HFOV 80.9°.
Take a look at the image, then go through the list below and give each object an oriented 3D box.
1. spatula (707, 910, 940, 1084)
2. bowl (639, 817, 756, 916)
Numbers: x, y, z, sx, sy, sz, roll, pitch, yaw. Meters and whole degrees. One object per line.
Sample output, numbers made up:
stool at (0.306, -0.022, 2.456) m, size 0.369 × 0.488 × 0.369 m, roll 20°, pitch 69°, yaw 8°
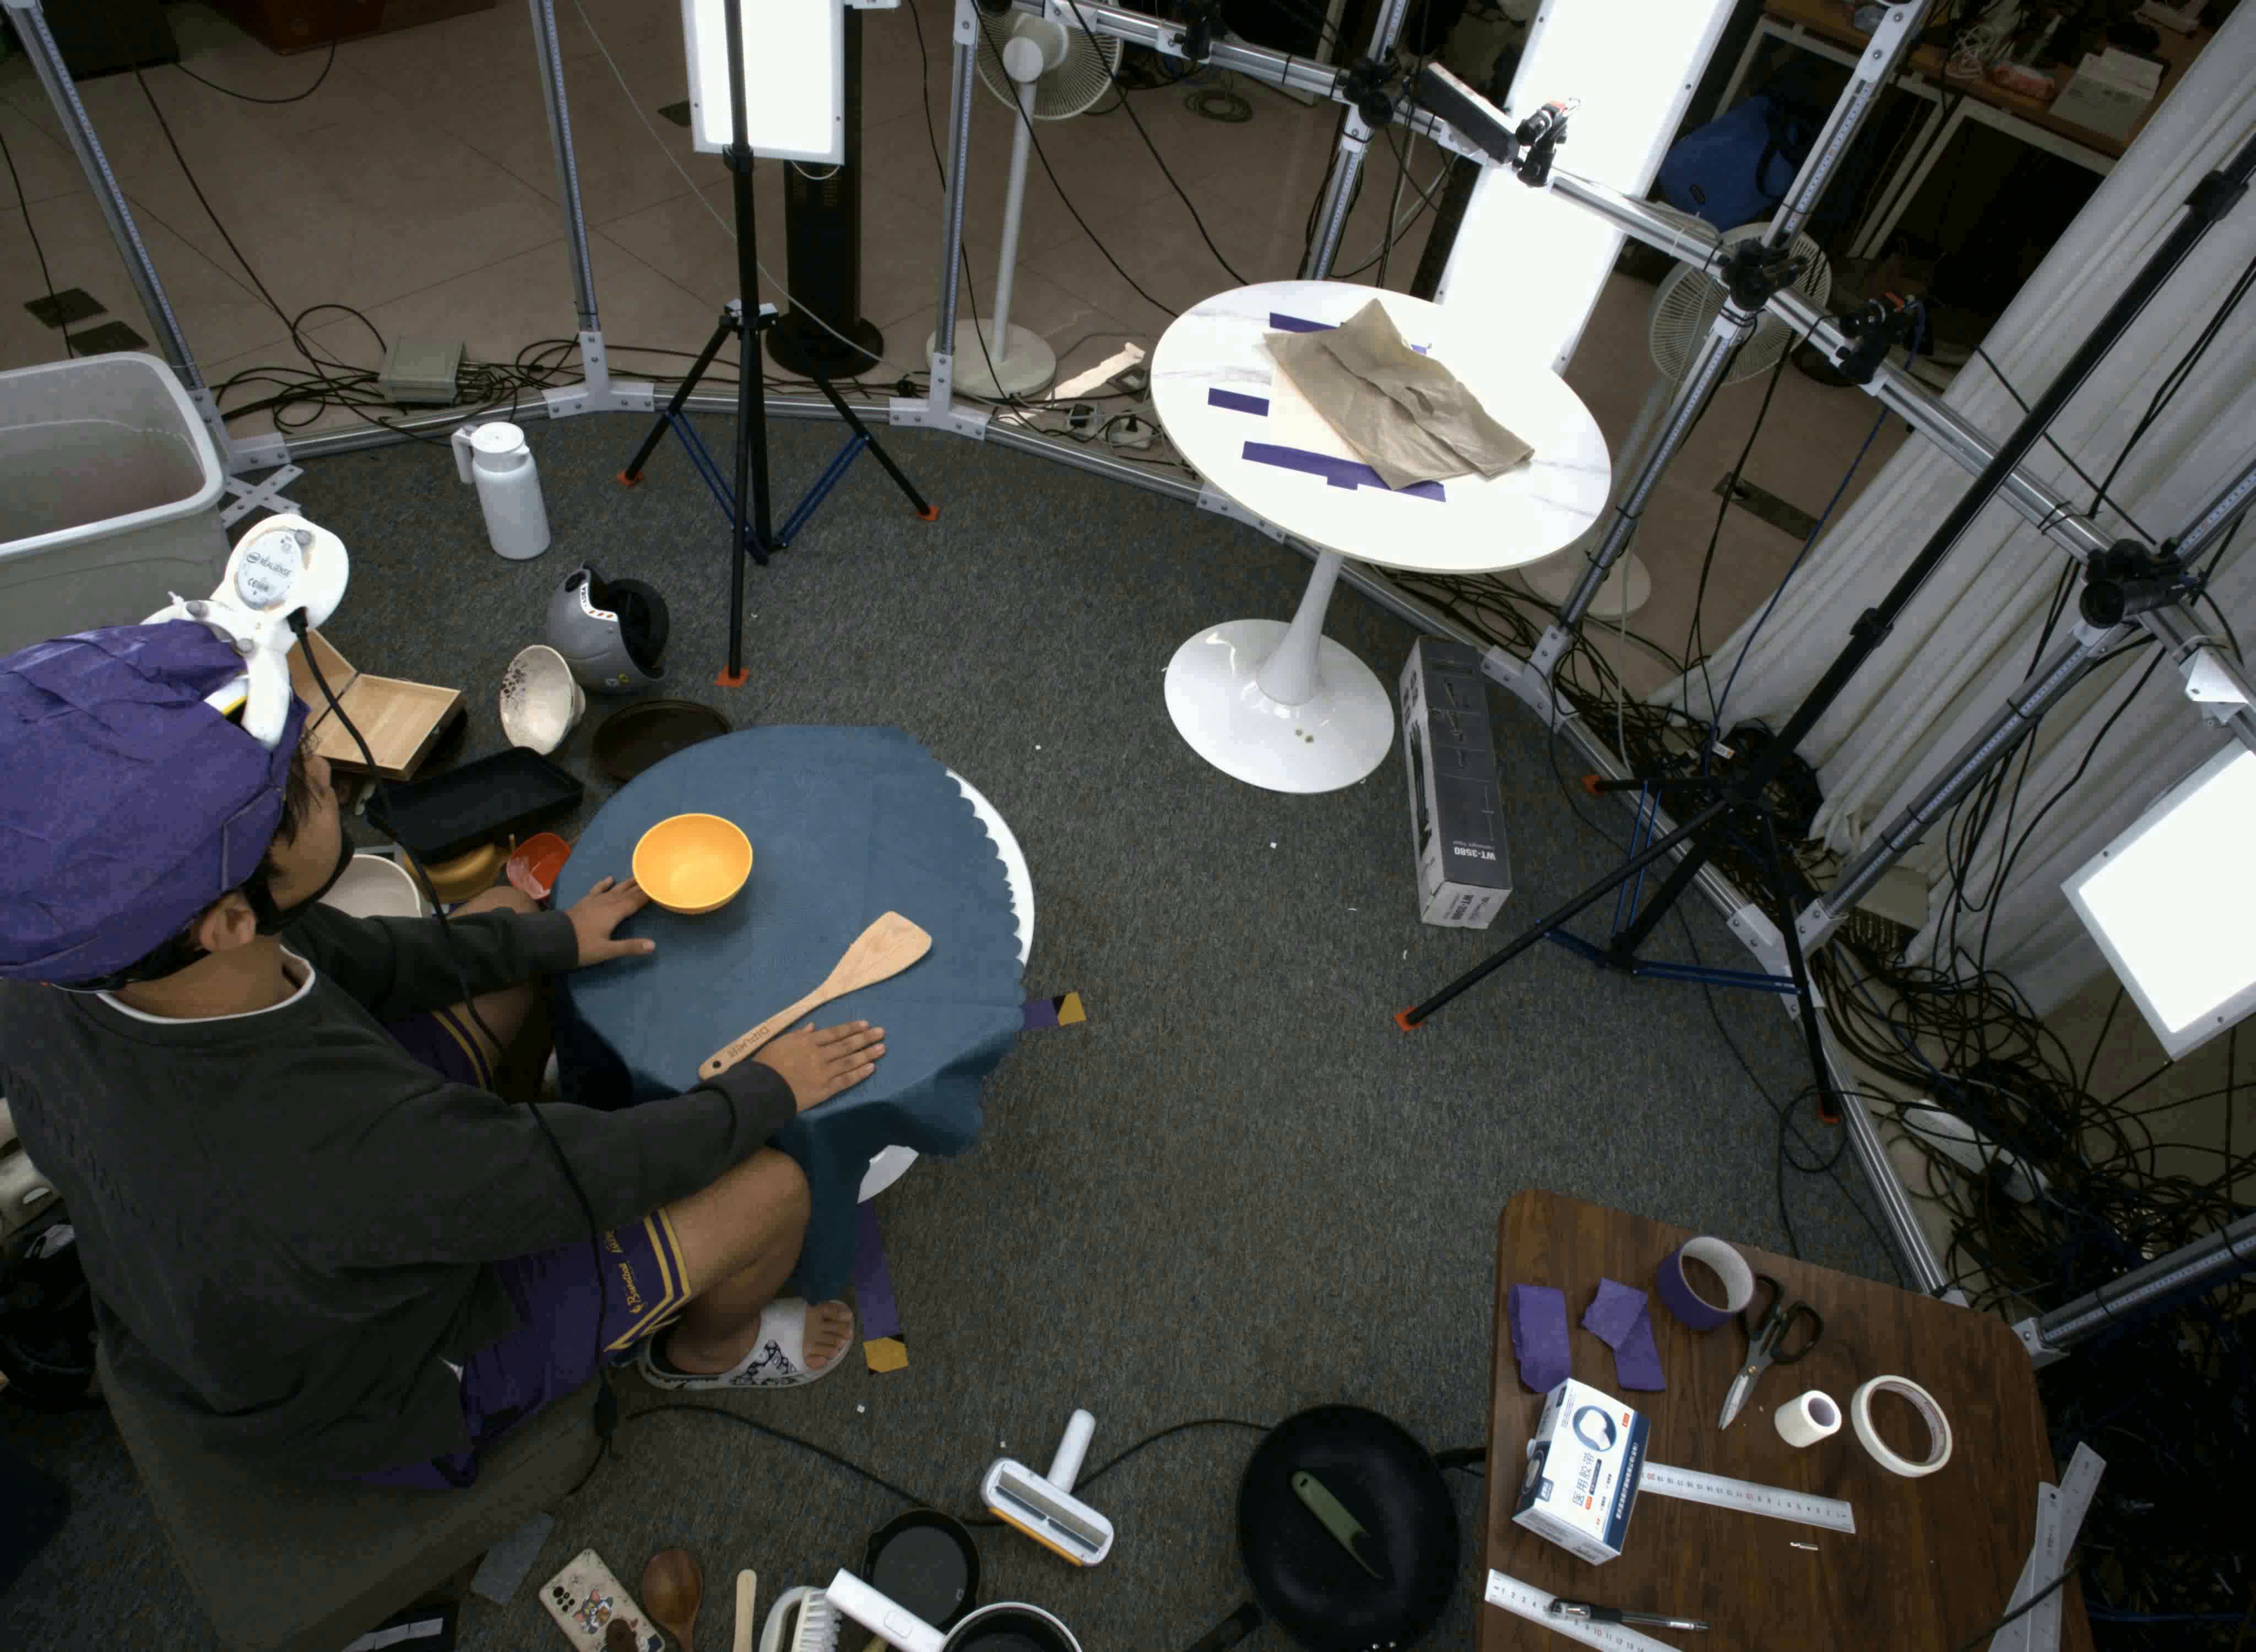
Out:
spatula at (-0.374, 0.205, 1.578) m, size 0.078 × 0.017 × 0.328 m, roll 43°, pitch 56°, yaw 17°
bowl at (-0.537, 0.060, 1.618) m, size 0.145 × 0.061 × 0.142 m, roll 7°, pitch 50°, yaw -7°
